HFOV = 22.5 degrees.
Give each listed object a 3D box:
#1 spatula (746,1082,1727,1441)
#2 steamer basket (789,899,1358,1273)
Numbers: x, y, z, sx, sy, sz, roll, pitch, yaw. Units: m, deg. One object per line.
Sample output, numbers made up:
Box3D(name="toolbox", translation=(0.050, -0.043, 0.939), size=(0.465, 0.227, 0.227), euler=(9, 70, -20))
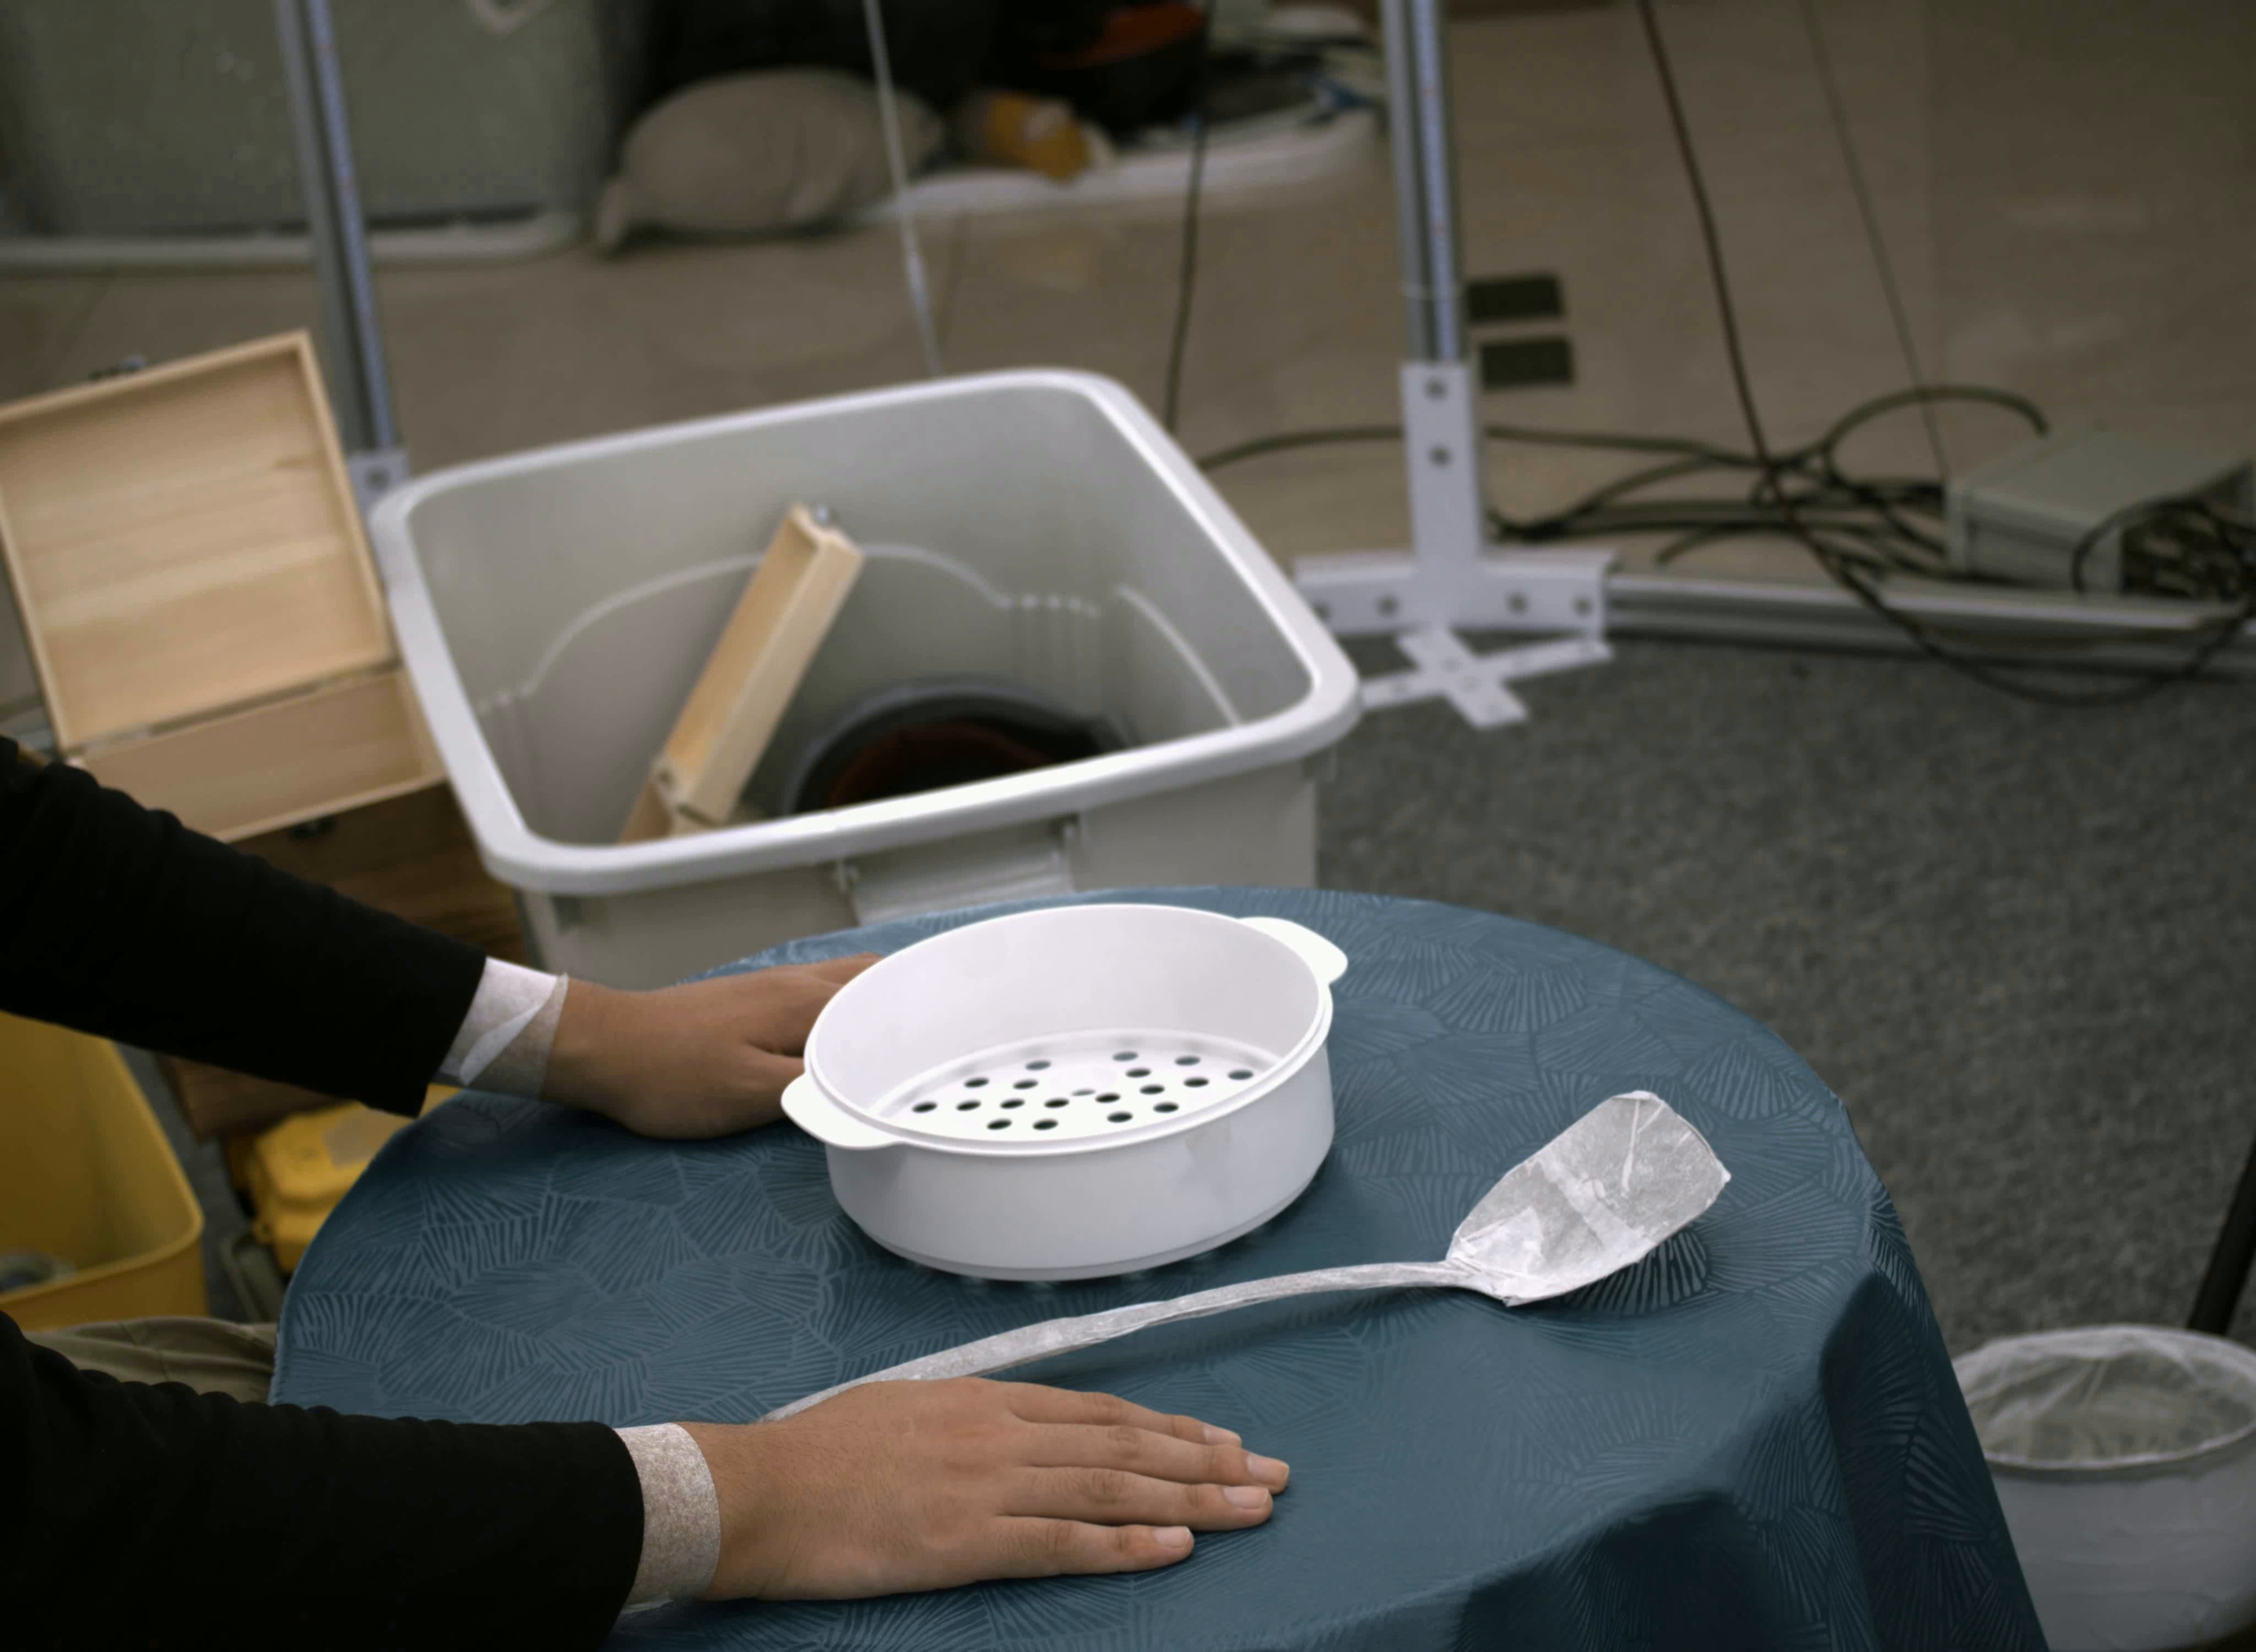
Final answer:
Box3D(name="spatula", translation=(0.039, 0.165, 2.038), size=(0.364, 0.045, 0.097), euler=(-12, 28, -11))
Box3D(name="steamer basket", translation=(-0.016, 0.099, 2.153), size=(0.229, 0.070, 0.200), euler=(-19, 27, -24))
